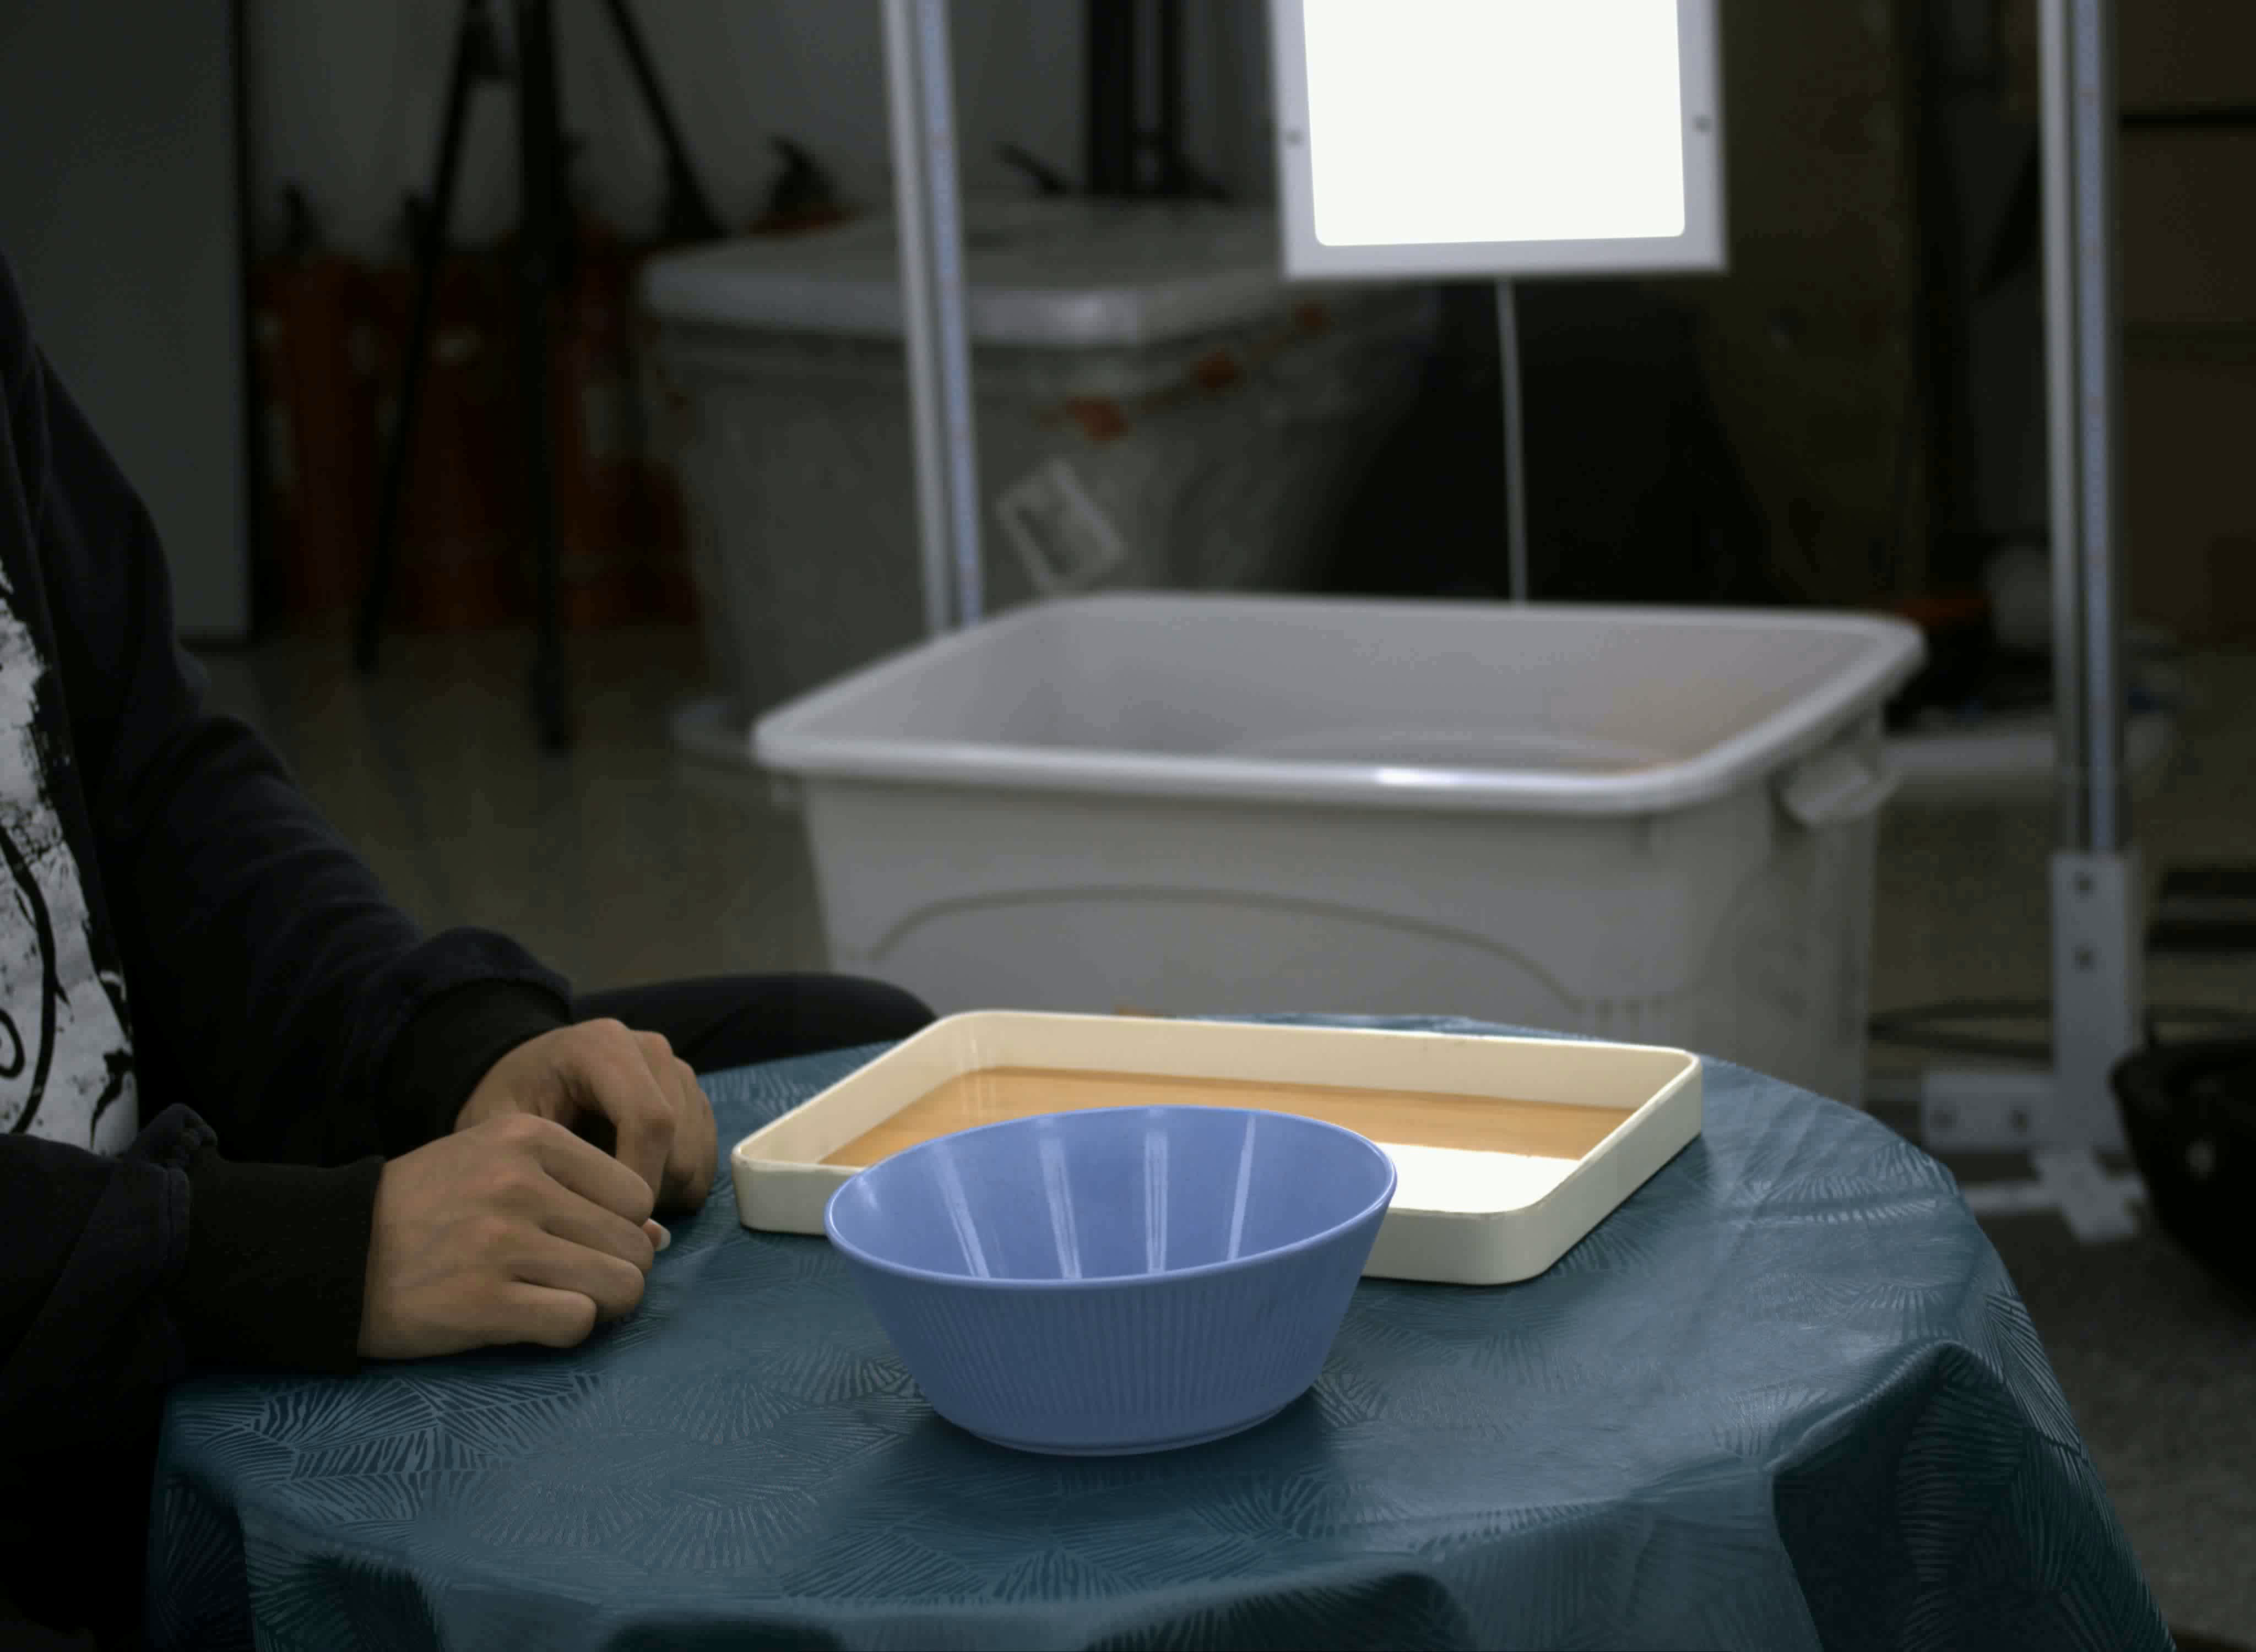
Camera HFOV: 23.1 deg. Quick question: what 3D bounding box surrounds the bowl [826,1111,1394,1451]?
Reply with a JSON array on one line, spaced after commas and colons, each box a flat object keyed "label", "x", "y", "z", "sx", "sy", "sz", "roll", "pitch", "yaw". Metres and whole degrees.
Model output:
[{"label": "bowl", "x": -0.003, "y": 0.141, "z": 1.687, "sx": 0.175, "sy": 0.070, "sz": 0.176, "roll": -4, "pitch": 13, "yaw": 0}]

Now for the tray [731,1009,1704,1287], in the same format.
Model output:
[{"label": "tray", "x": 0.032, "y": 0.109, "z": 1.904, "sx": 0.305, "sy": 0.027, "sz": 0.187, "roll": 2, "pitch": 16, "yaw": 27}]
